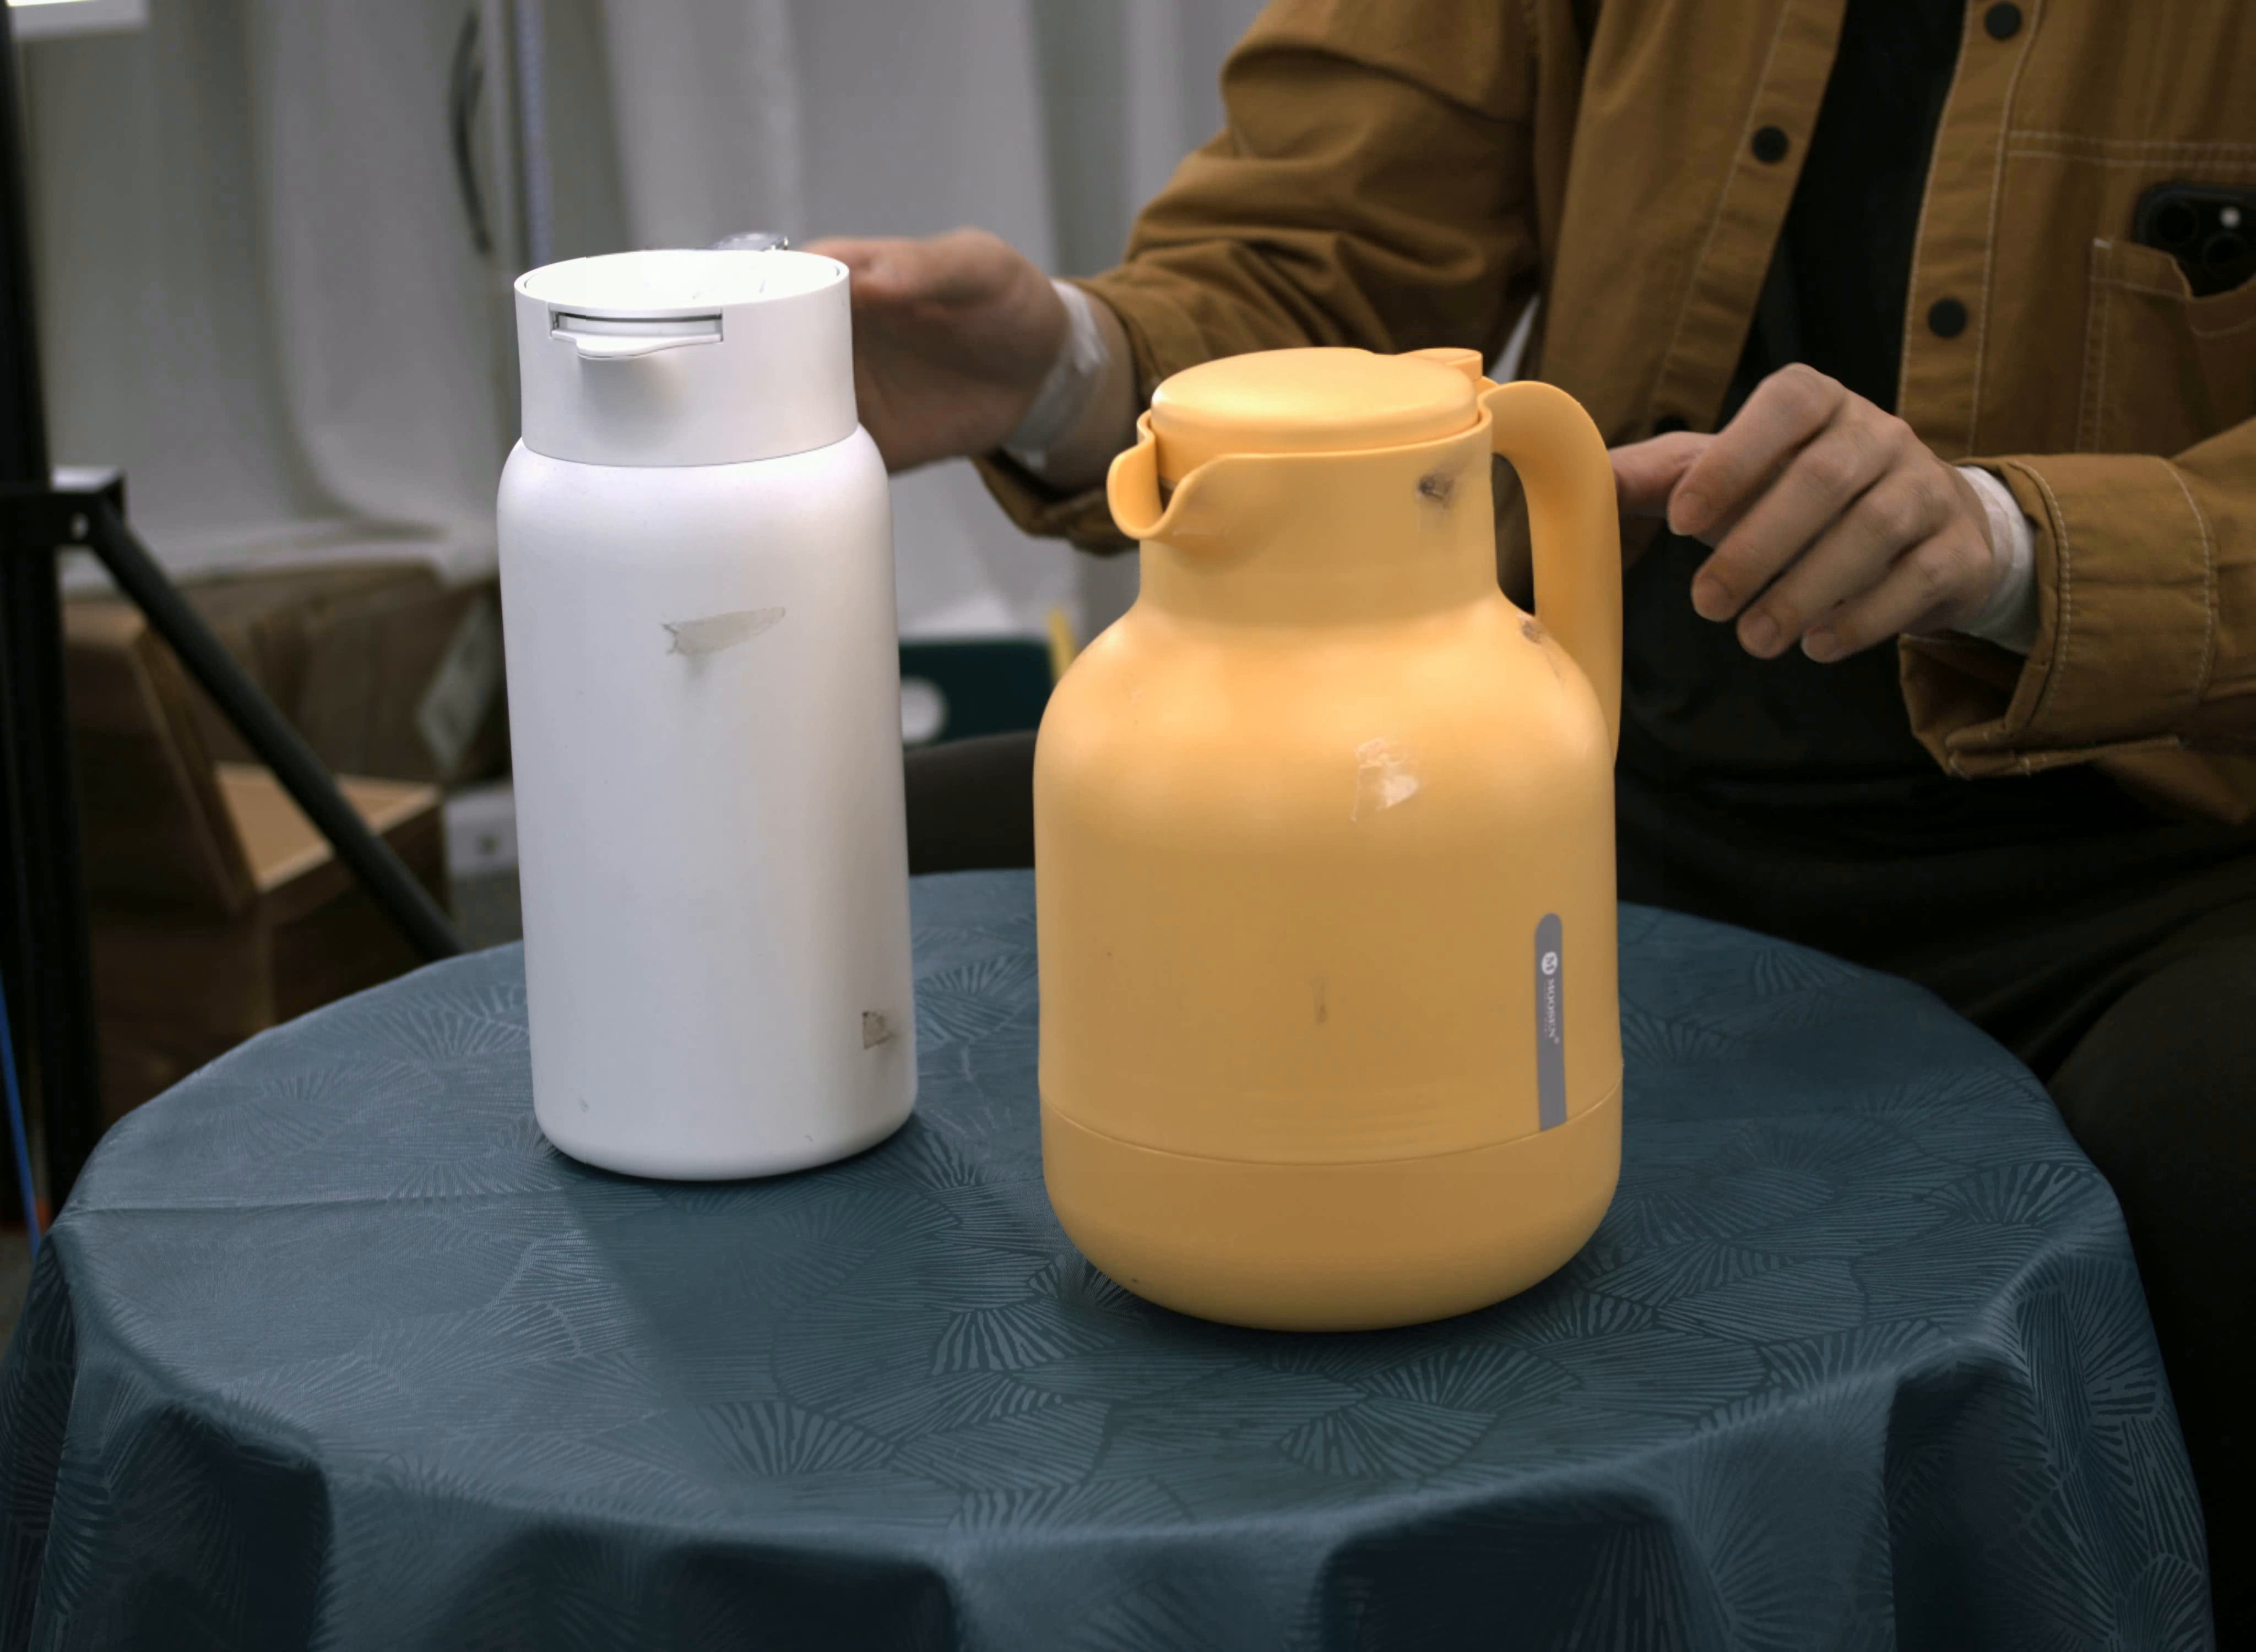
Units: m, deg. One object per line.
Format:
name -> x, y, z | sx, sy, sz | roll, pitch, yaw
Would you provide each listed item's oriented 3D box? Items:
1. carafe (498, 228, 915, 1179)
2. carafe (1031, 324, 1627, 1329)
carafe -> -0.123, -0.041, 1.612 | 0.125, 0.269, 0.171 | 0, 15, 16
carafe -> 0.068, -0.007, 1.468 | 0.198, 0.260, 0.167 | -18, 25, -41
